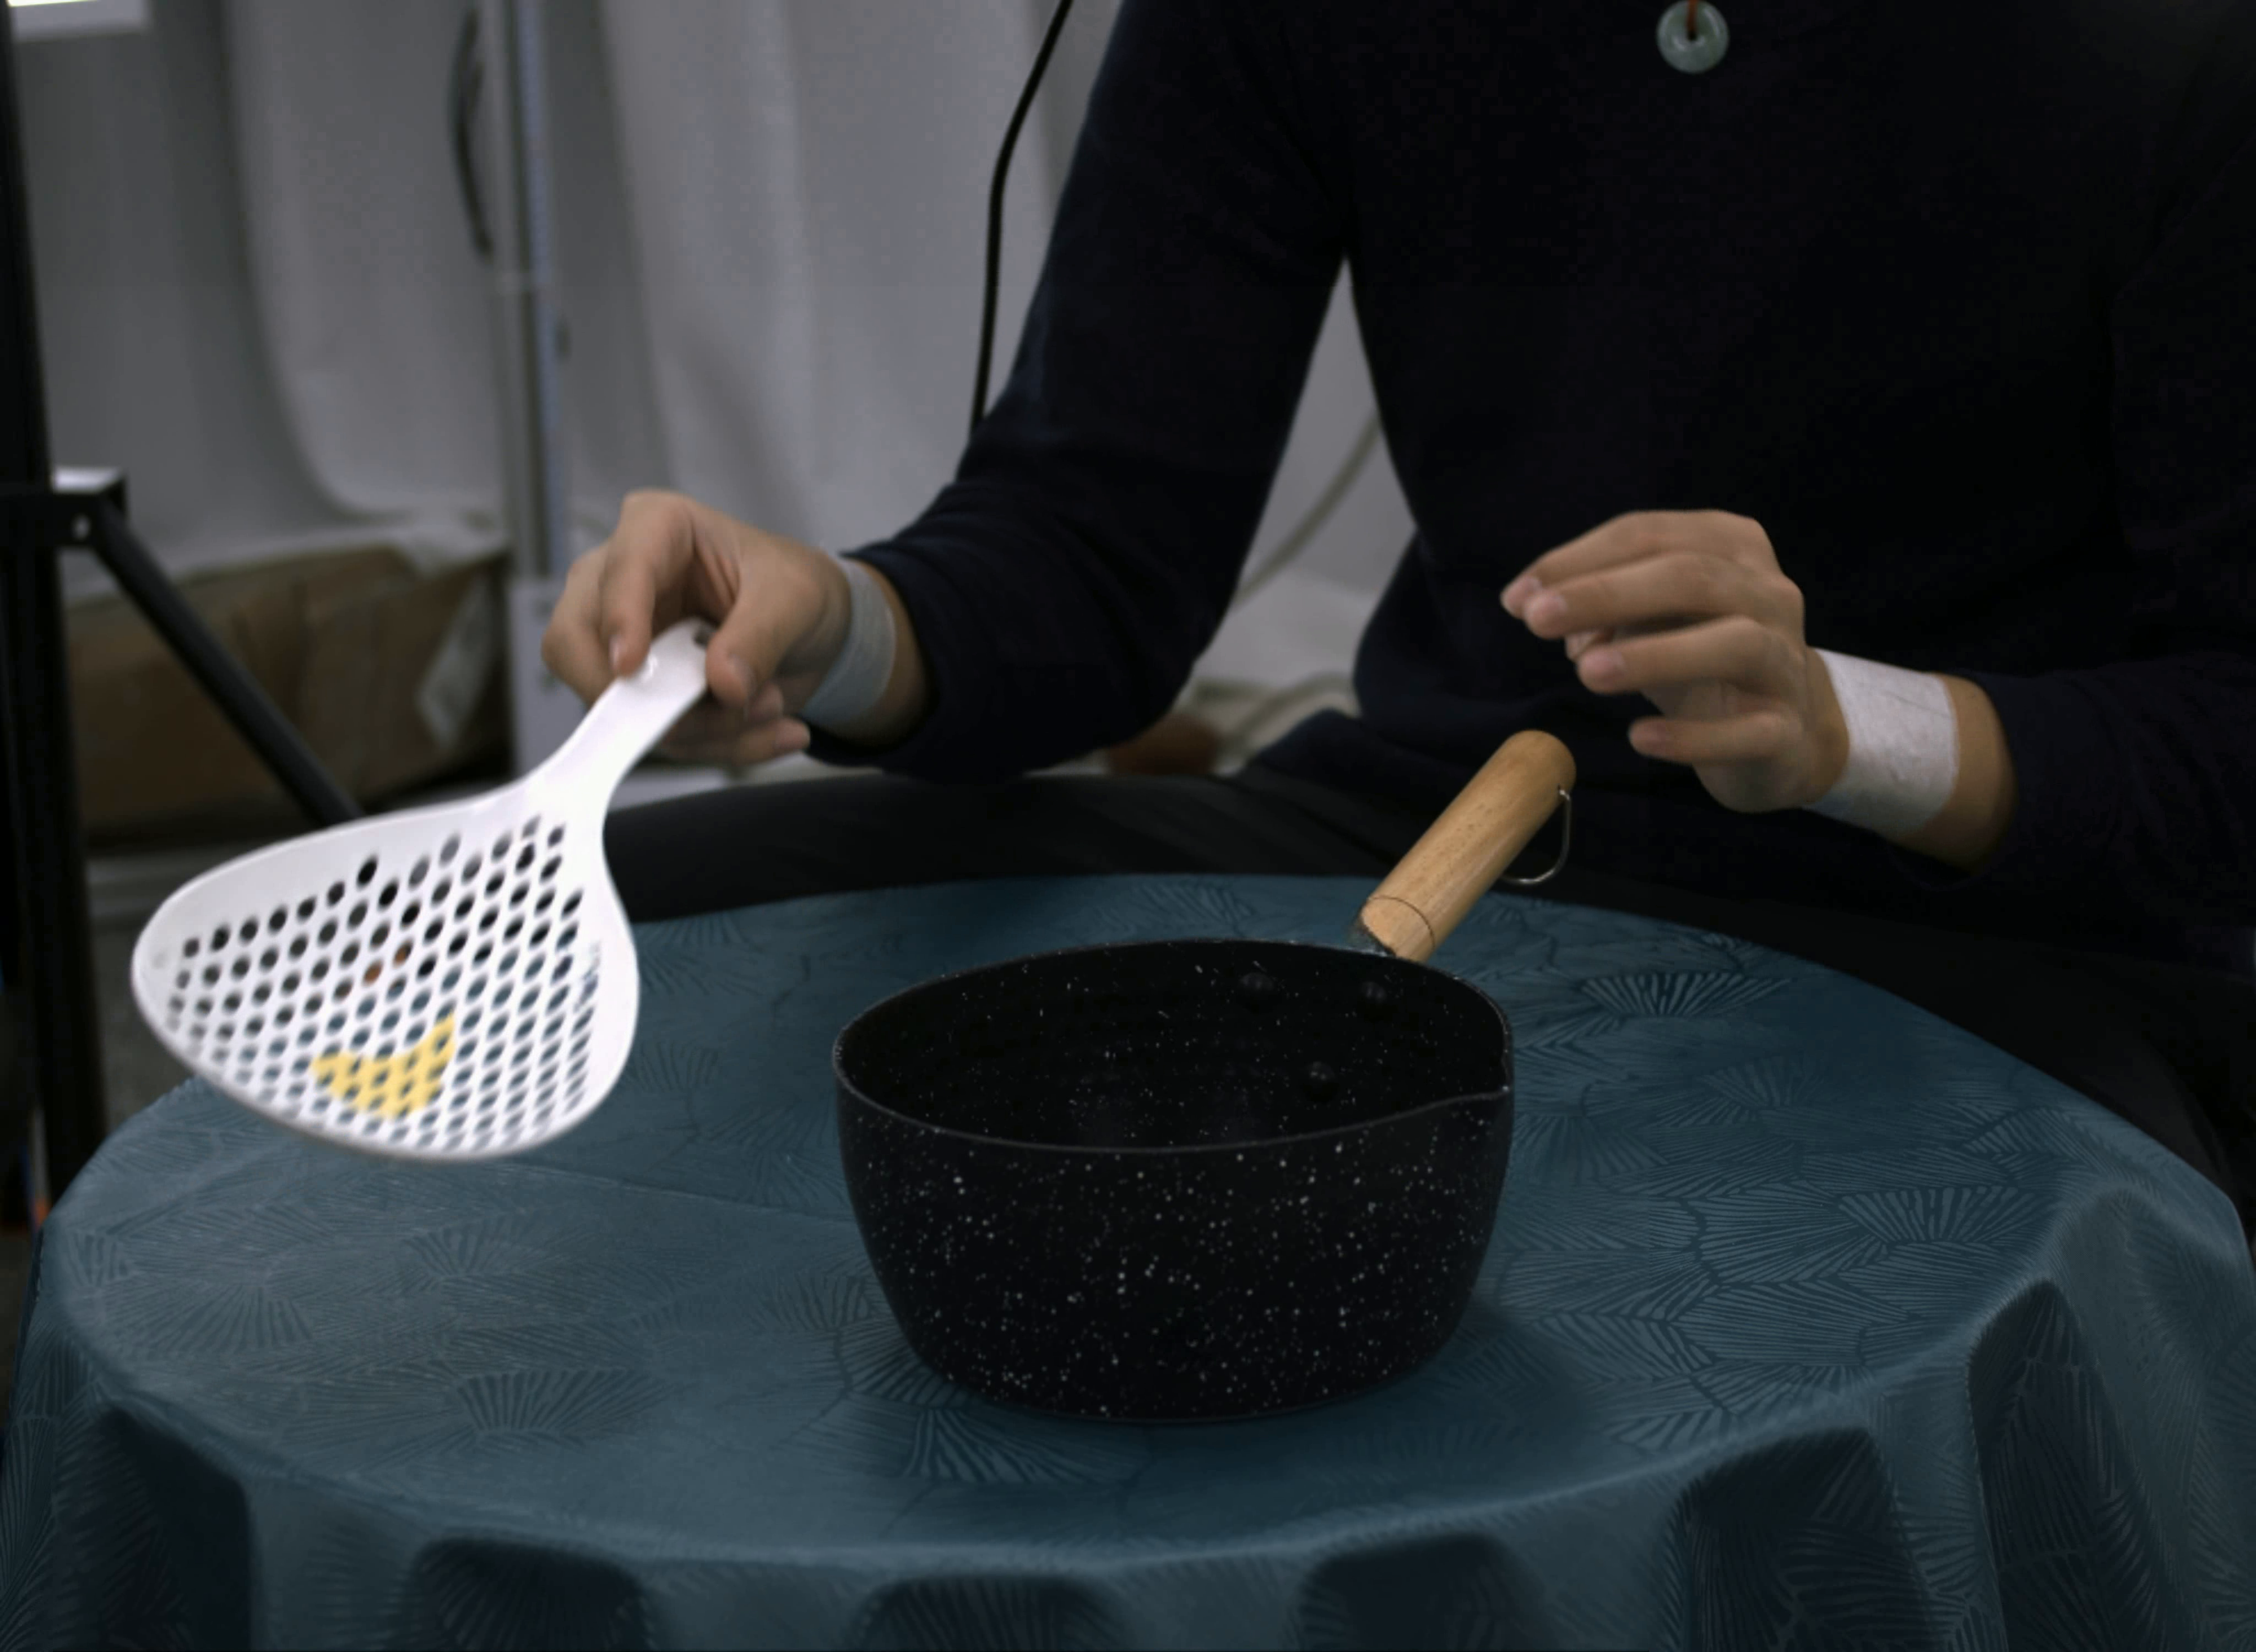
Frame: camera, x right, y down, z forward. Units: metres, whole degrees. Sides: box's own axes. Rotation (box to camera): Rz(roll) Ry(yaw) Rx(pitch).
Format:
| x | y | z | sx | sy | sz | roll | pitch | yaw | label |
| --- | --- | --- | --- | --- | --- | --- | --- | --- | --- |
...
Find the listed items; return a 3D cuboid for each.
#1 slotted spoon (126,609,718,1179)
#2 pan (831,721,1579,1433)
| x | y | z | sx | sy | sz | roll | pitch | yaw | label |
| --- | --- | --- | --- | --- | --- | --- | --- | --- | --- |
| -0.172 | 0.007 | 1.536 | 0.137 | 0.050 | 0.346 | 20 | 35 | 7 | slotted spoon |
| 0.049 | 0.065 | 1.502 | 0.211 | 0.108 | 0.337 | 4 | 18 | 28 | pan |
